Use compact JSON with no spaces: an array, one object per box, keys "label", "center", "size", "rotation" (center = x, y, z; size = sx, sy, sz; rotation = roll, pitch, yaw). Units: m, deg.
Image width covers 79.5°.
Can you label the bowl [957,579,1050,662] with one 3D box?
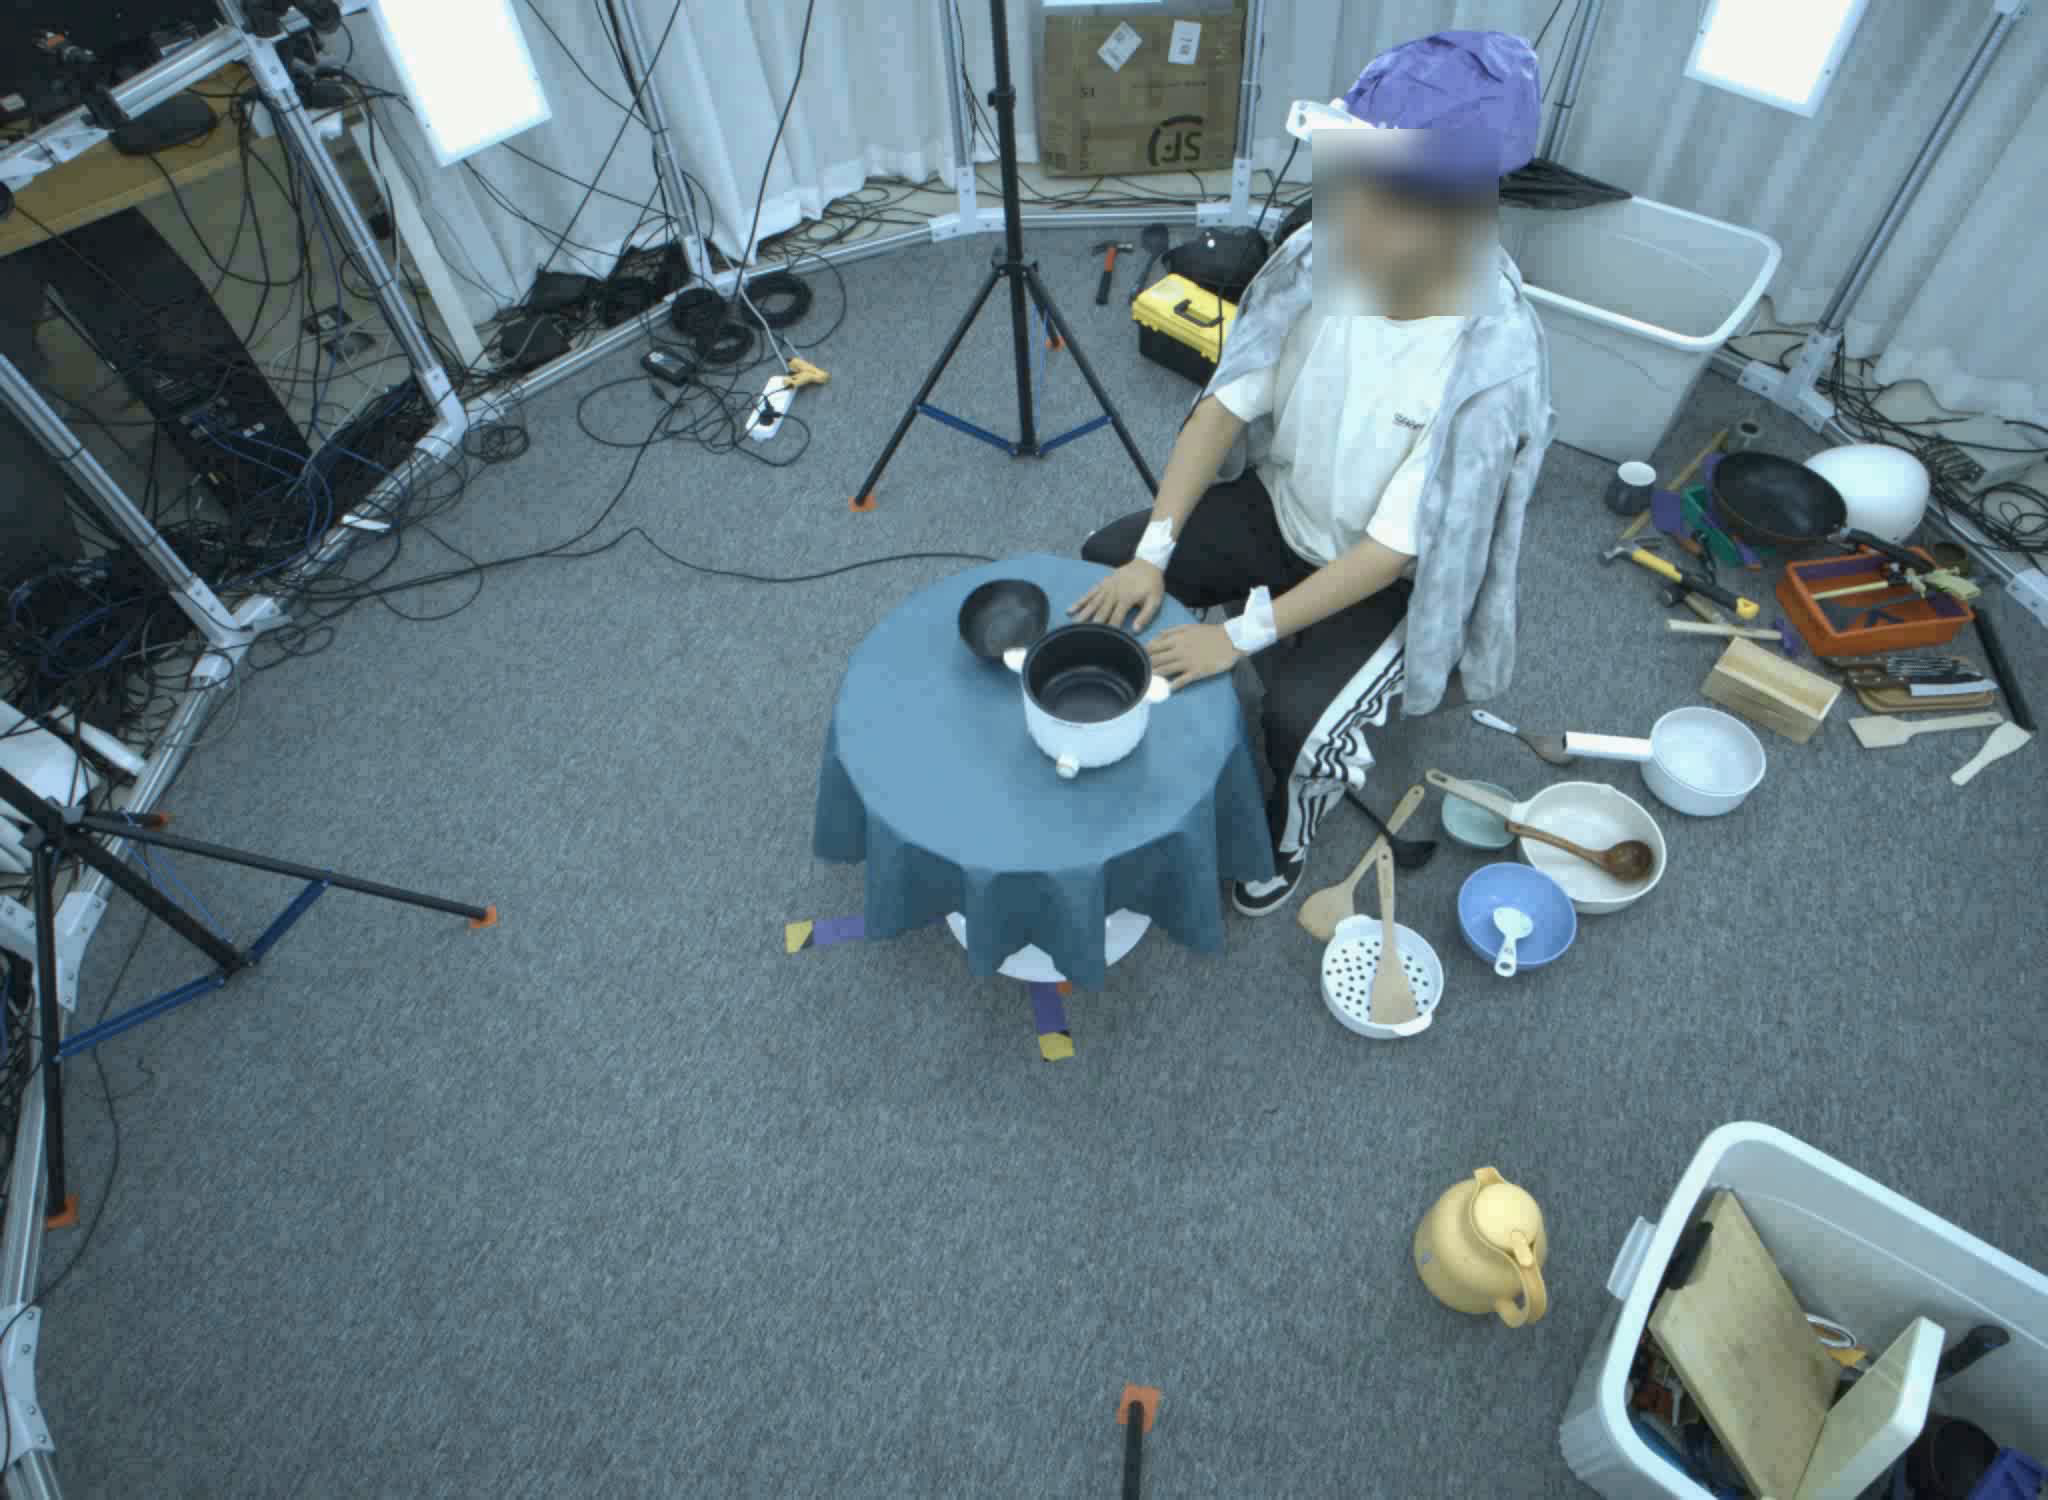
[{"label":"bowl","center":[-0.030,-0.191,1.886],"size":[0.136,0.067,0.170],"rotation":[15,56,10]}]

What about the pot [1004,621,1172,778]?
[{"label":"pot","center":[0.089,-0.067,1.749],"size":[0.238,0.144,0.190],"rotation":[13,53,12]}]
